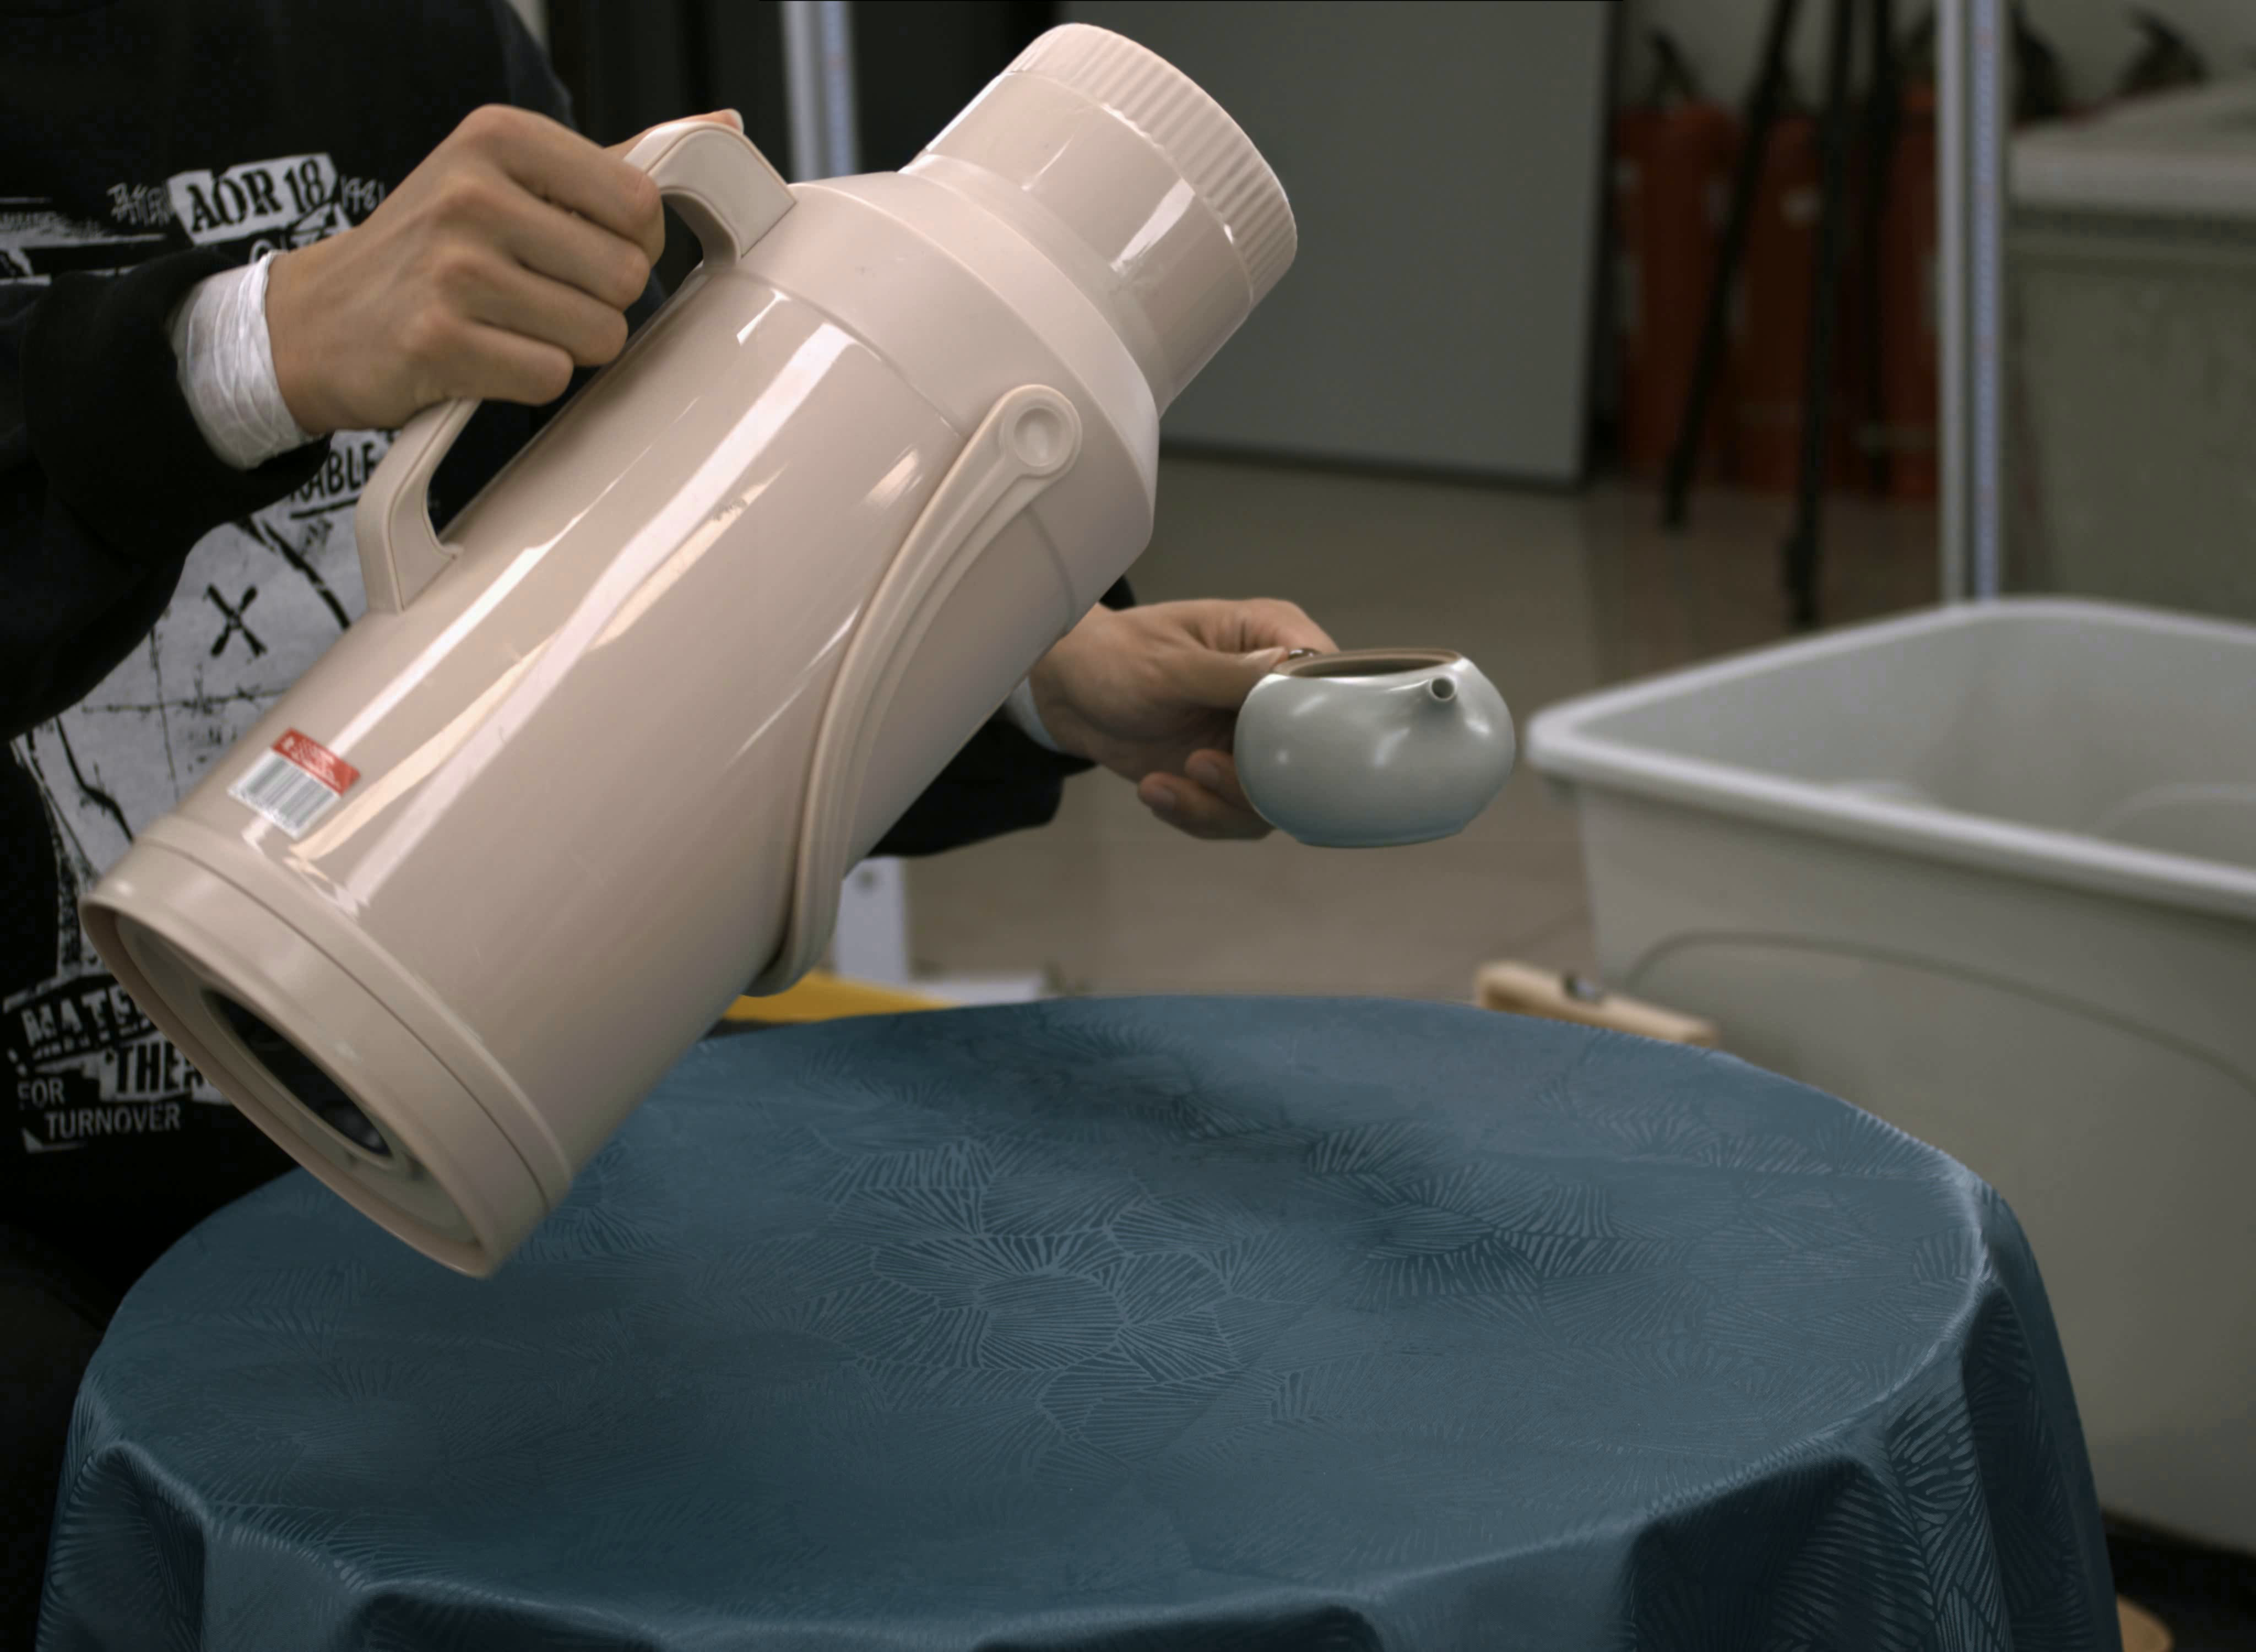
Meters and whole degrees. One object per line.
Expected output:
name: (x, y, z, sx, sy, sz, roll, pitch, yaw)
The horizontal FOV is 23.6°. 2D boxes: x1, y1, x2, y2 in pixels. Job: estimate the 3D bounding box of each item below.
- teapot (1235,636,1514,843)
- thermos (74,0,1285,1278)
teapot: (0.076, -0.029, 1.756, 0.090, 0.060, 0.129, -12, 12, -23)
thermos: (-0.126, -0.079, 1.579, 0.405, 0.205, 0.177, -48, 24, -16)
